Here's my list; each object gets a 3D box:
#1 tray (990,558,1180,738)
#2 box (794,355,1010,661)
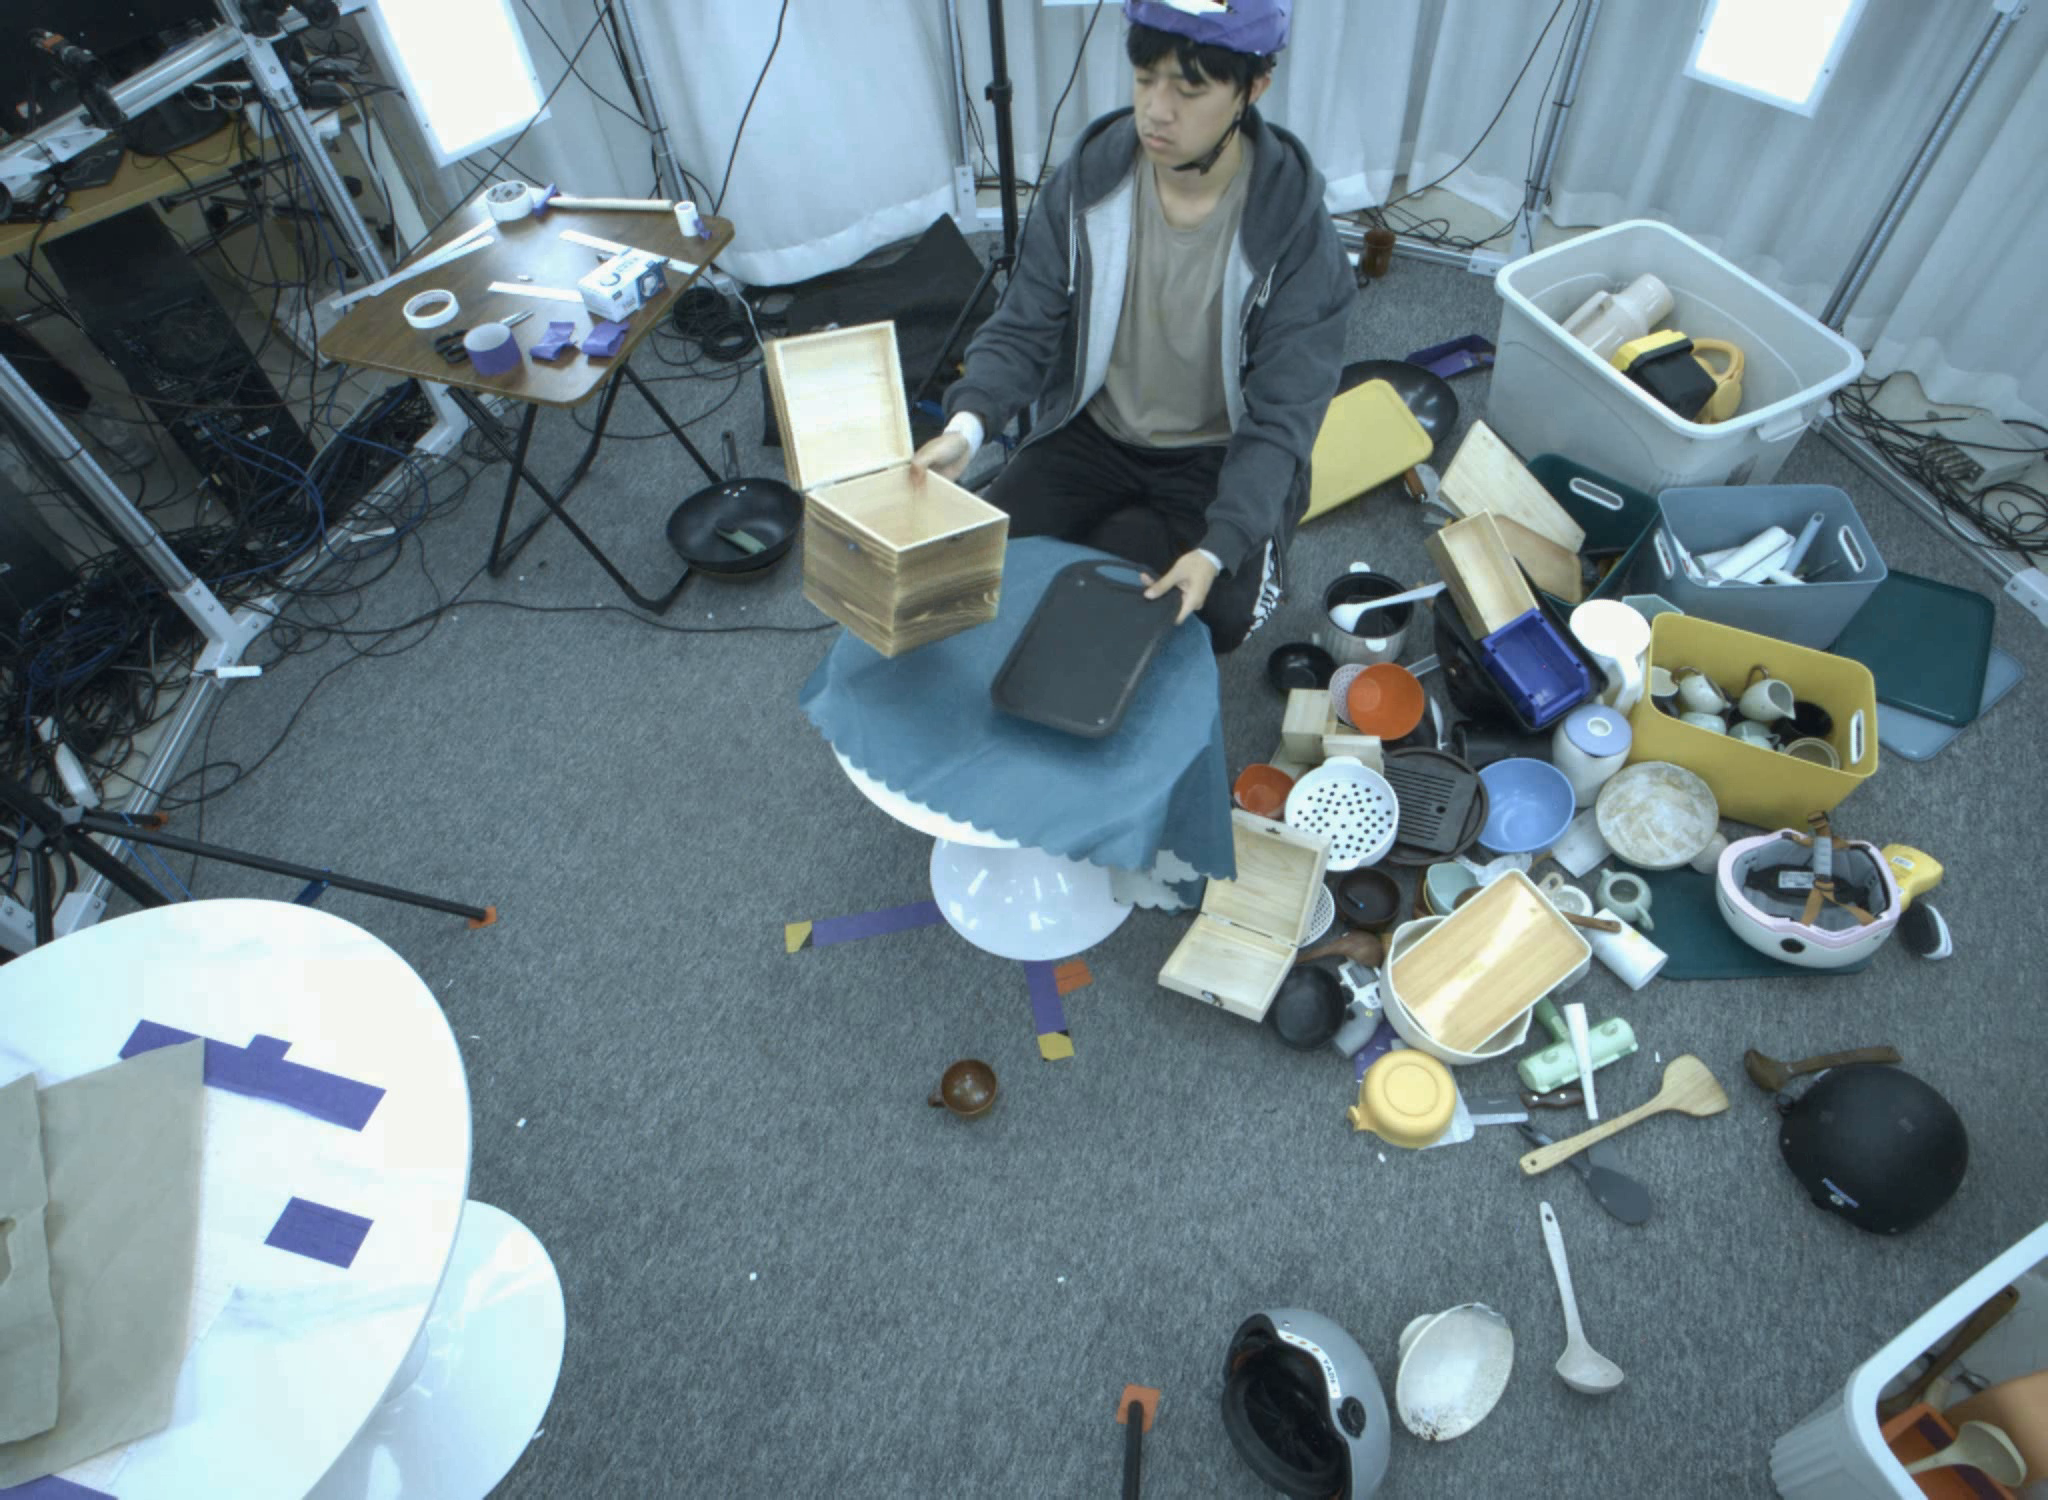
[{"bbox_3d":[0.095,-0.164,1.824,0.208,0.010,0.325,18,61,18],"label":"tray"},{"bbox_3d":[-0.196,-0.375,1.699,0.315,0.378,0.211,34,44,30],"label":"box"}]
